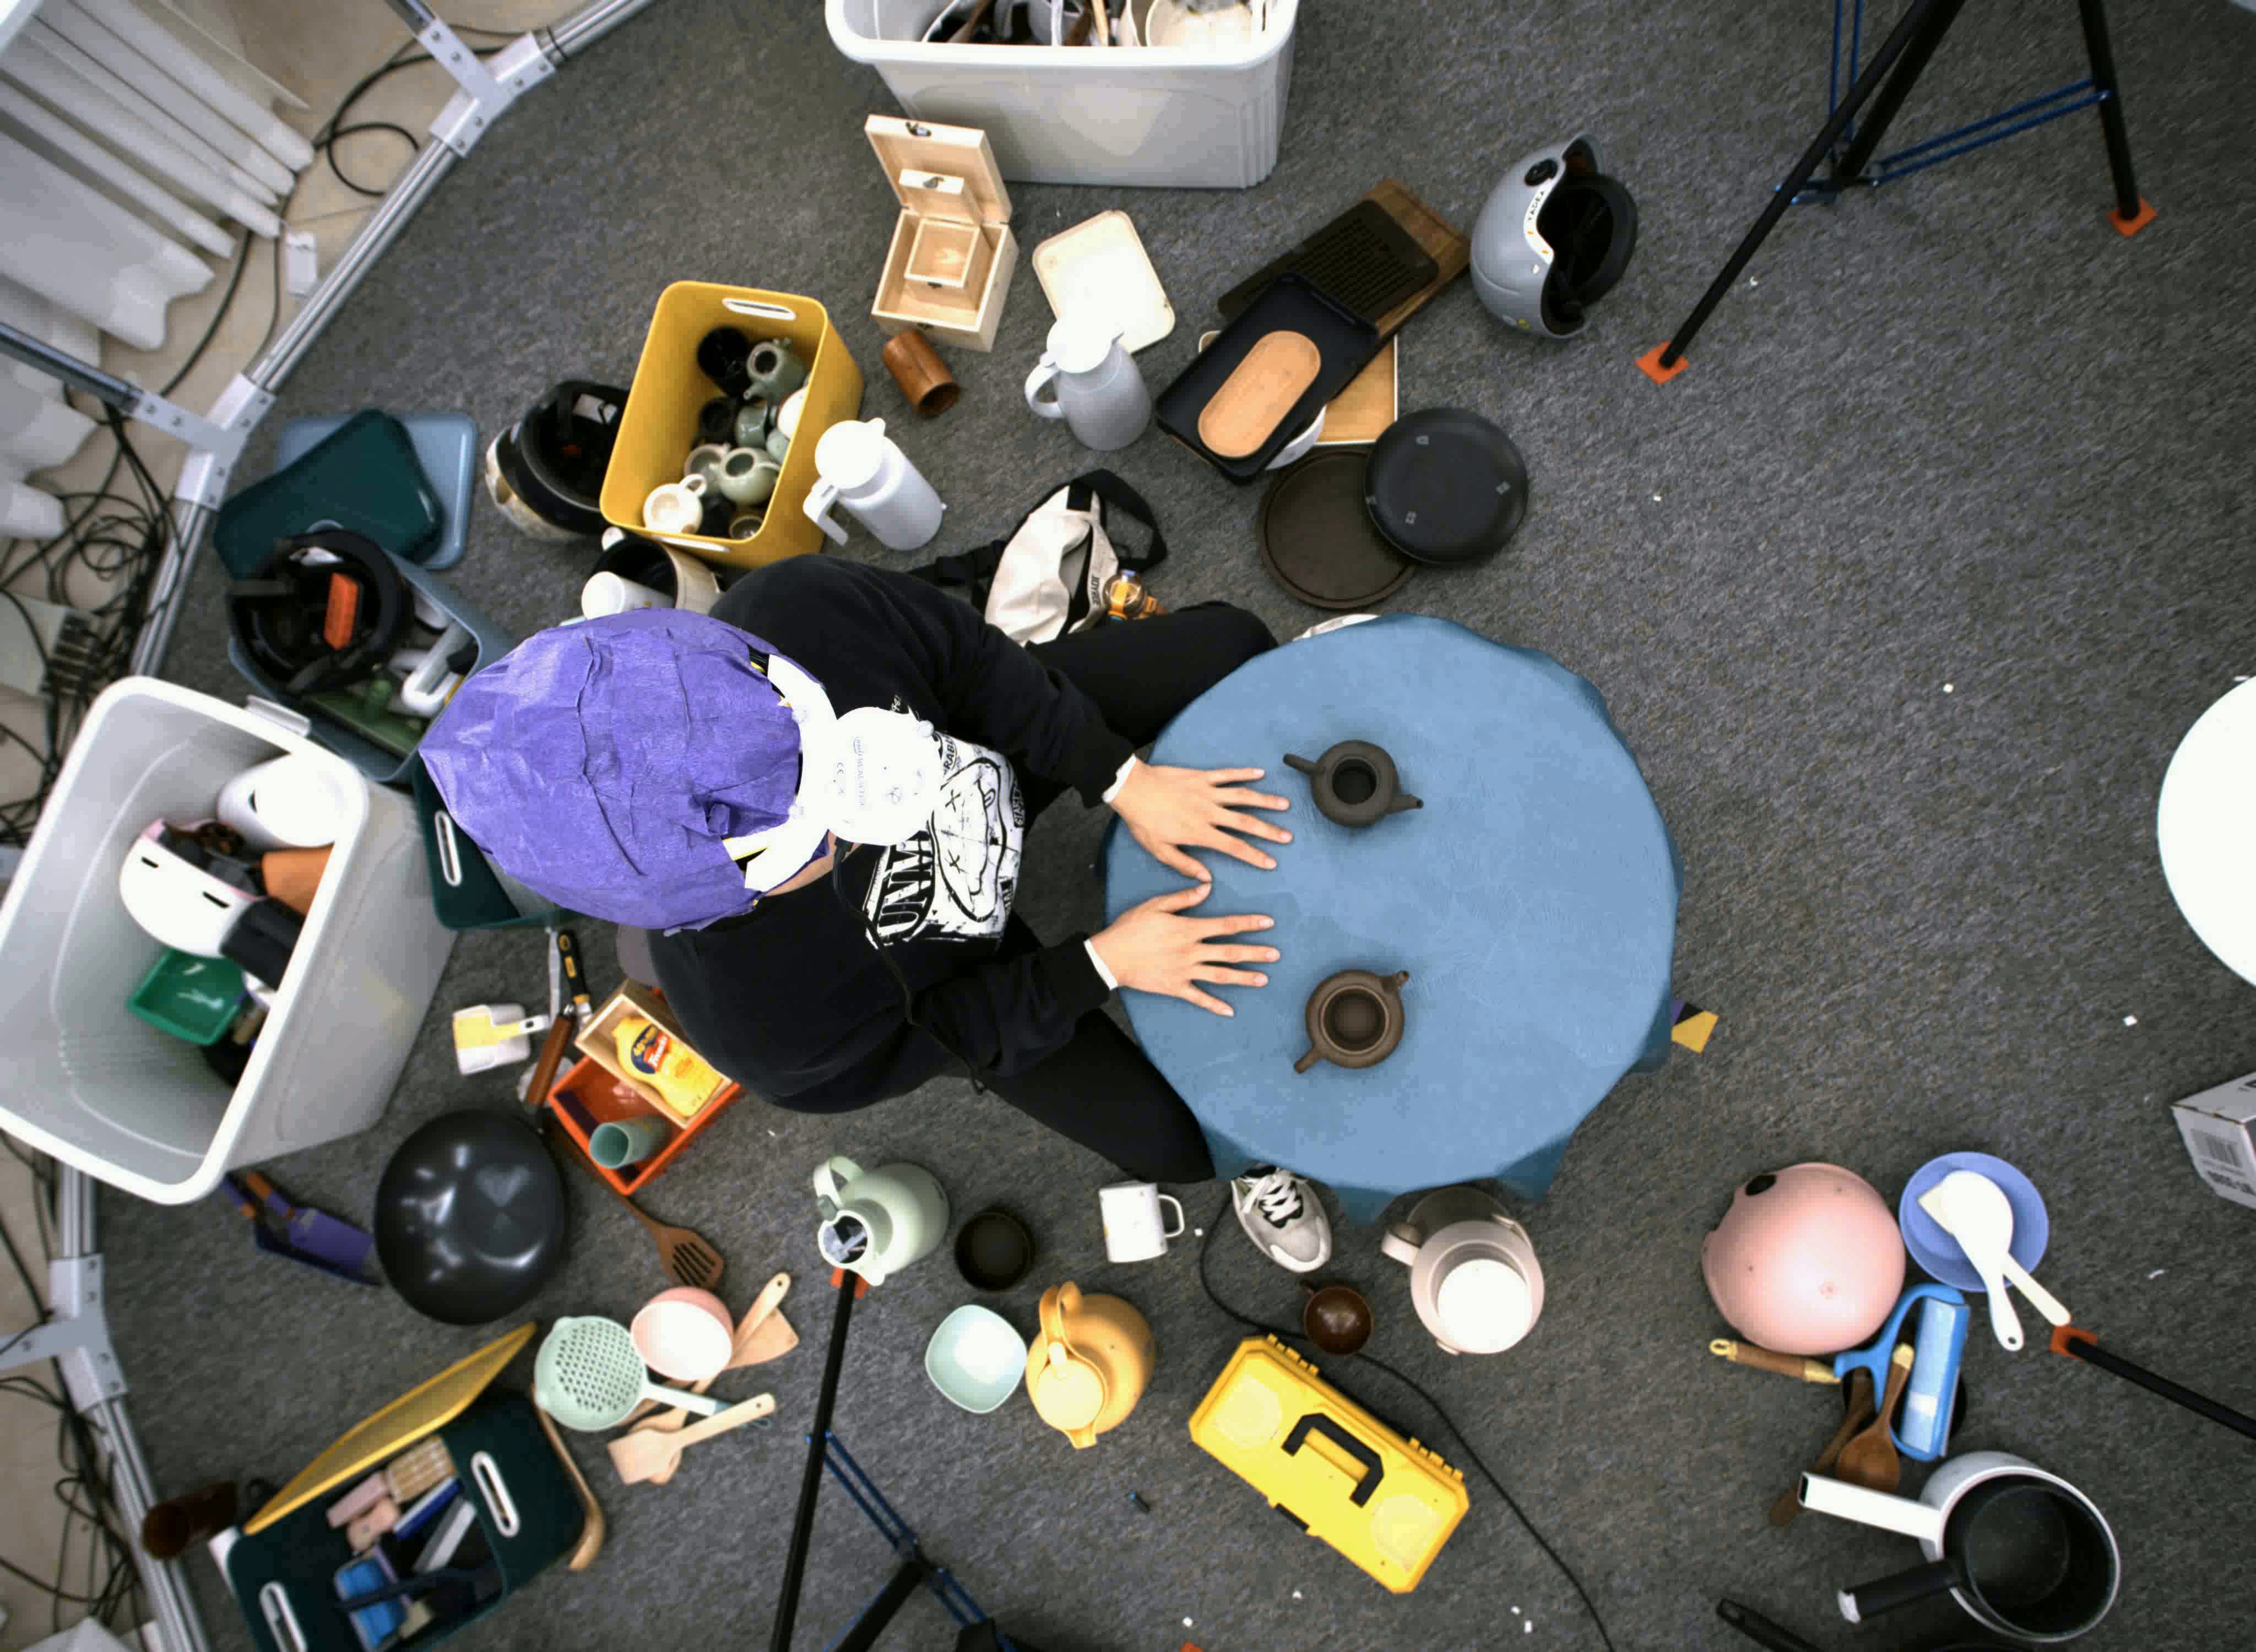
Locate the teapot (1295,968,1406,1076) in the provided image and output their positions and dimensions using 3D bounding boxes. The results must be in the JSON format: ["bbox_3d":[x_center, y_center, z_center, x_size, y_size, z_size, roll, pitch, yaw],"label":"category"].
[{"bbox_3d":[0.232,0.202,1.434,0.102,0.054,0.154,43,94,13],"label":"teapot"}]

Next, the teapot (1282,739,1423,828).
[{"bbox_3d":[0.234,-0.046,1.441,0.154,0.064,0.092,21,88,11],"label":"teapot"}]
